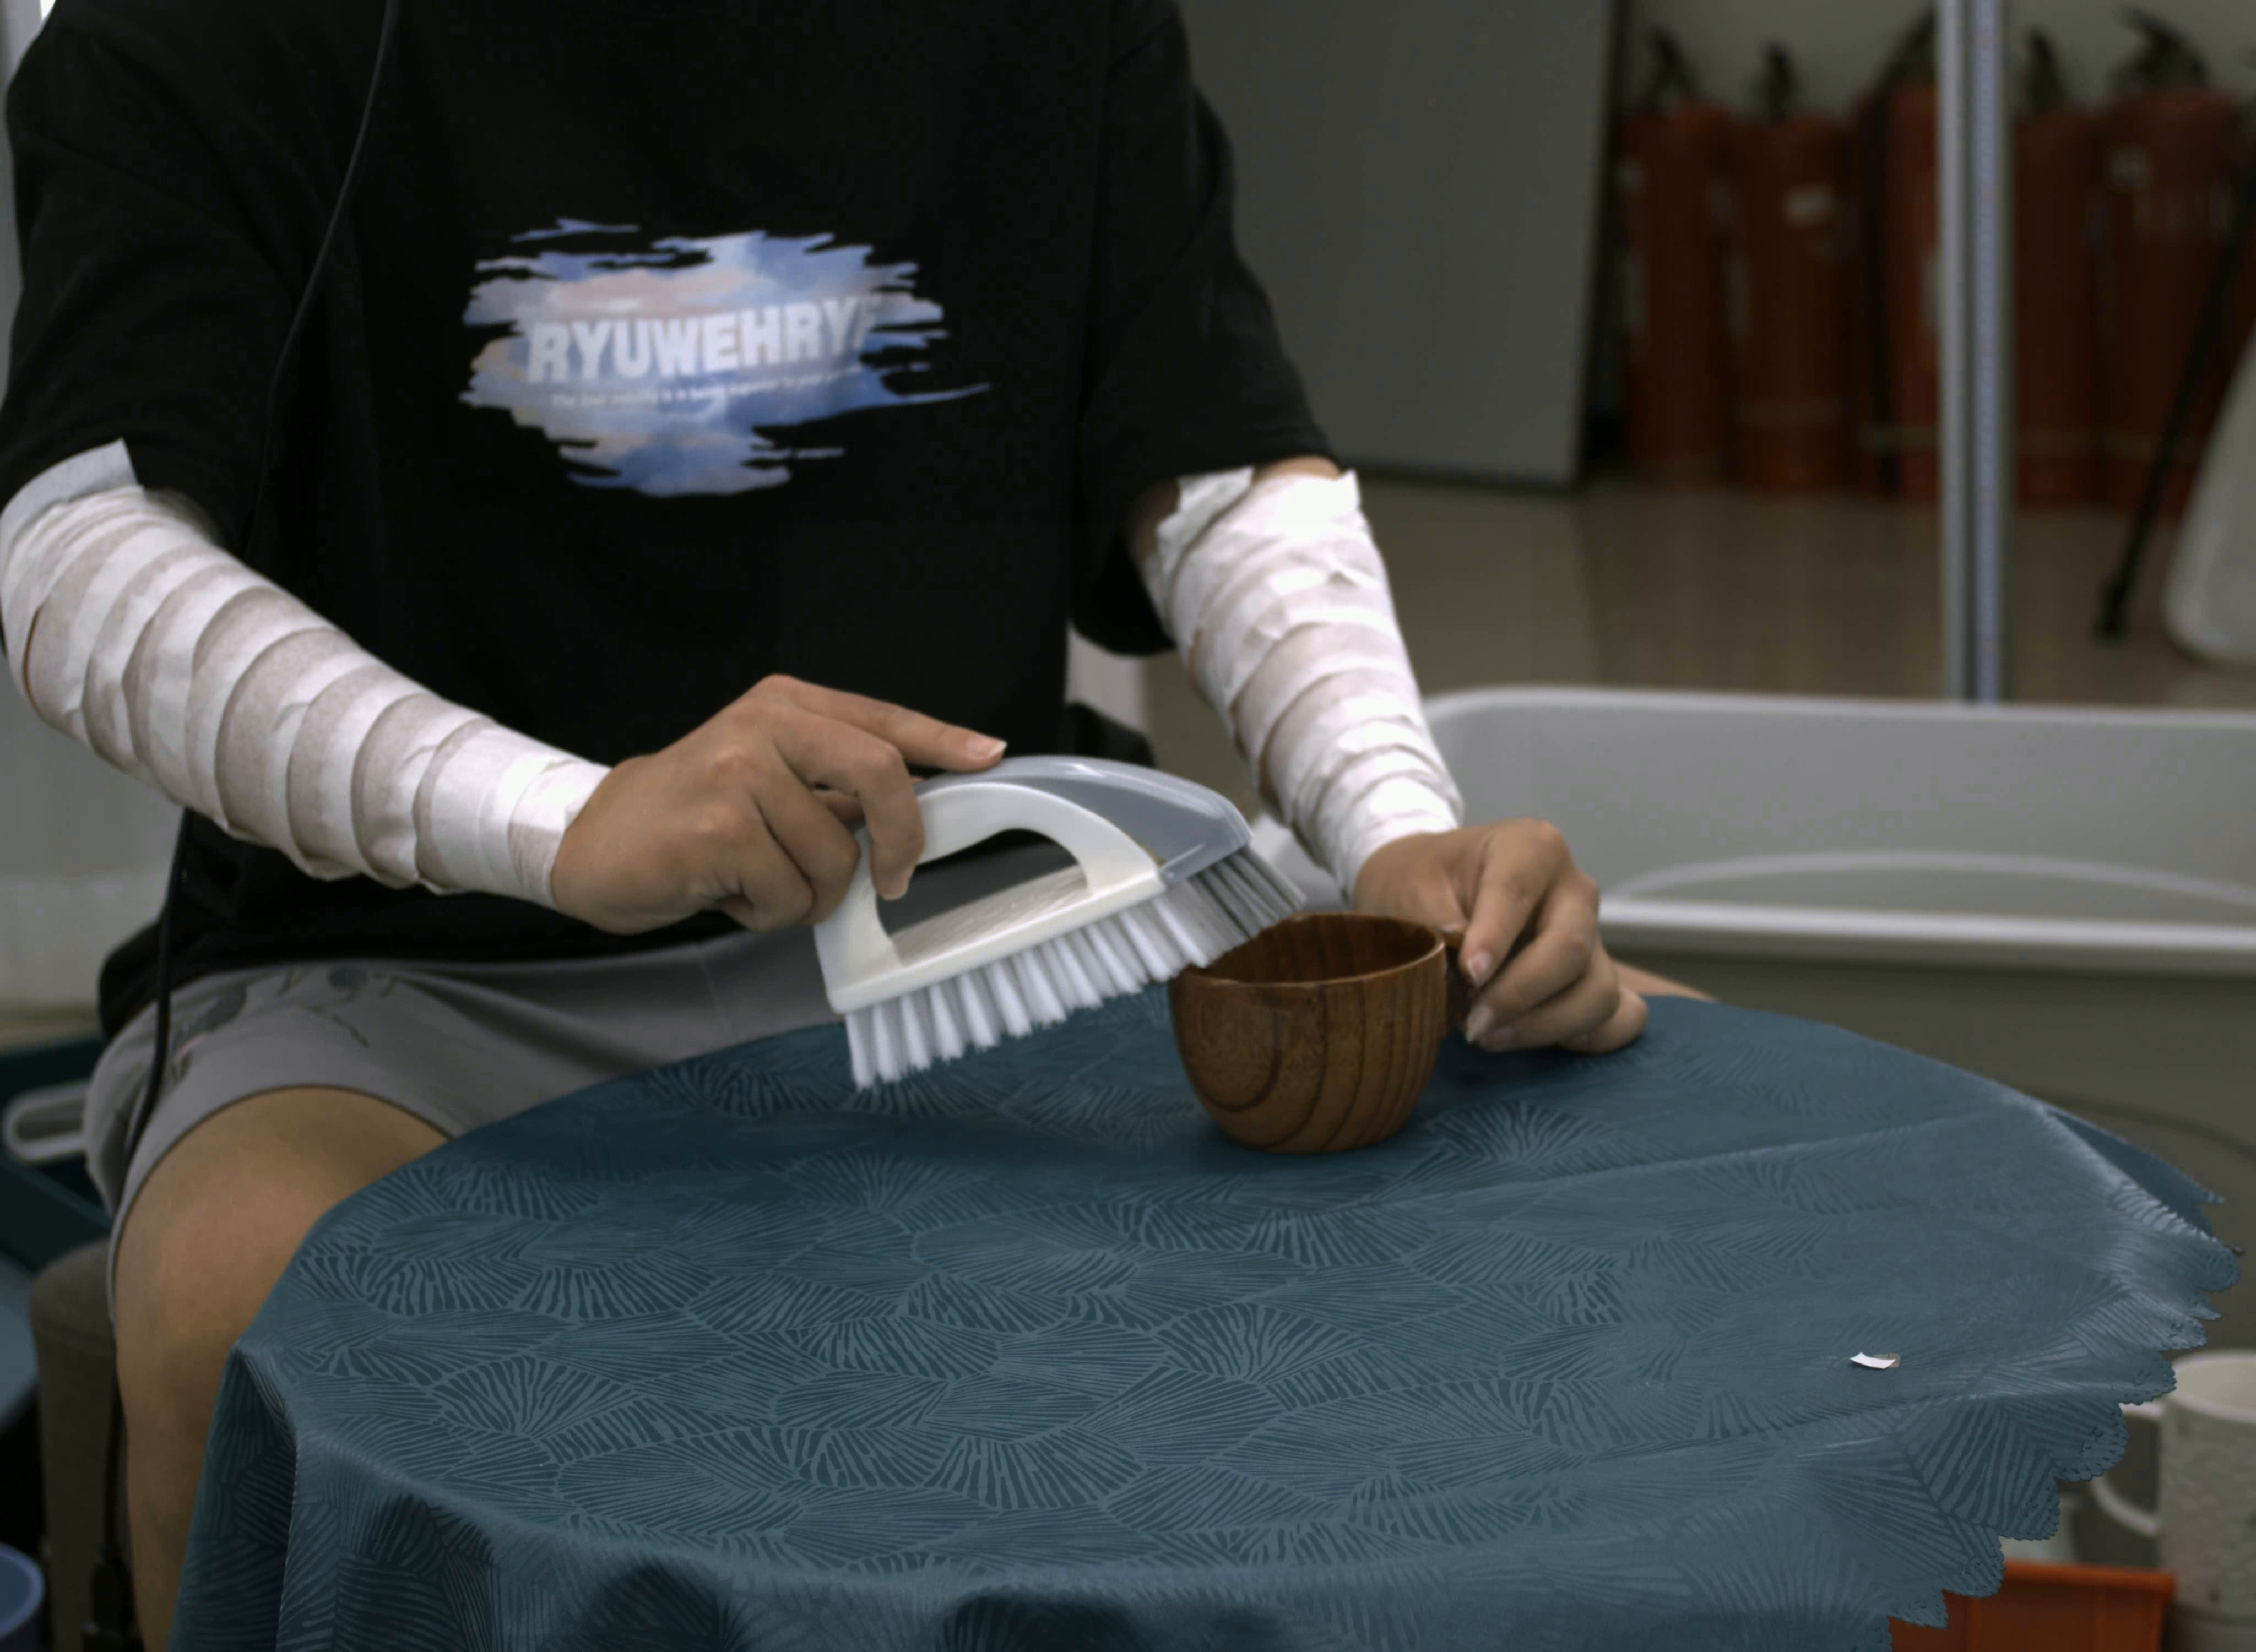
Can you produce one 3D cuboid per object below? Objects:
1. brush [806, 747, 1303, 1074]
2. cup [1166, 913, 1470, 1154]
[{"bbox_3d":[-0.031,0.016,1.820,0.176,0.094,0.061,-18,18,30],"label":"brush"},{"bbox_3d":[0.072,0.070,1.825,0.117,0.068,0.097,-11,13,-34],"label":"cup"}]
